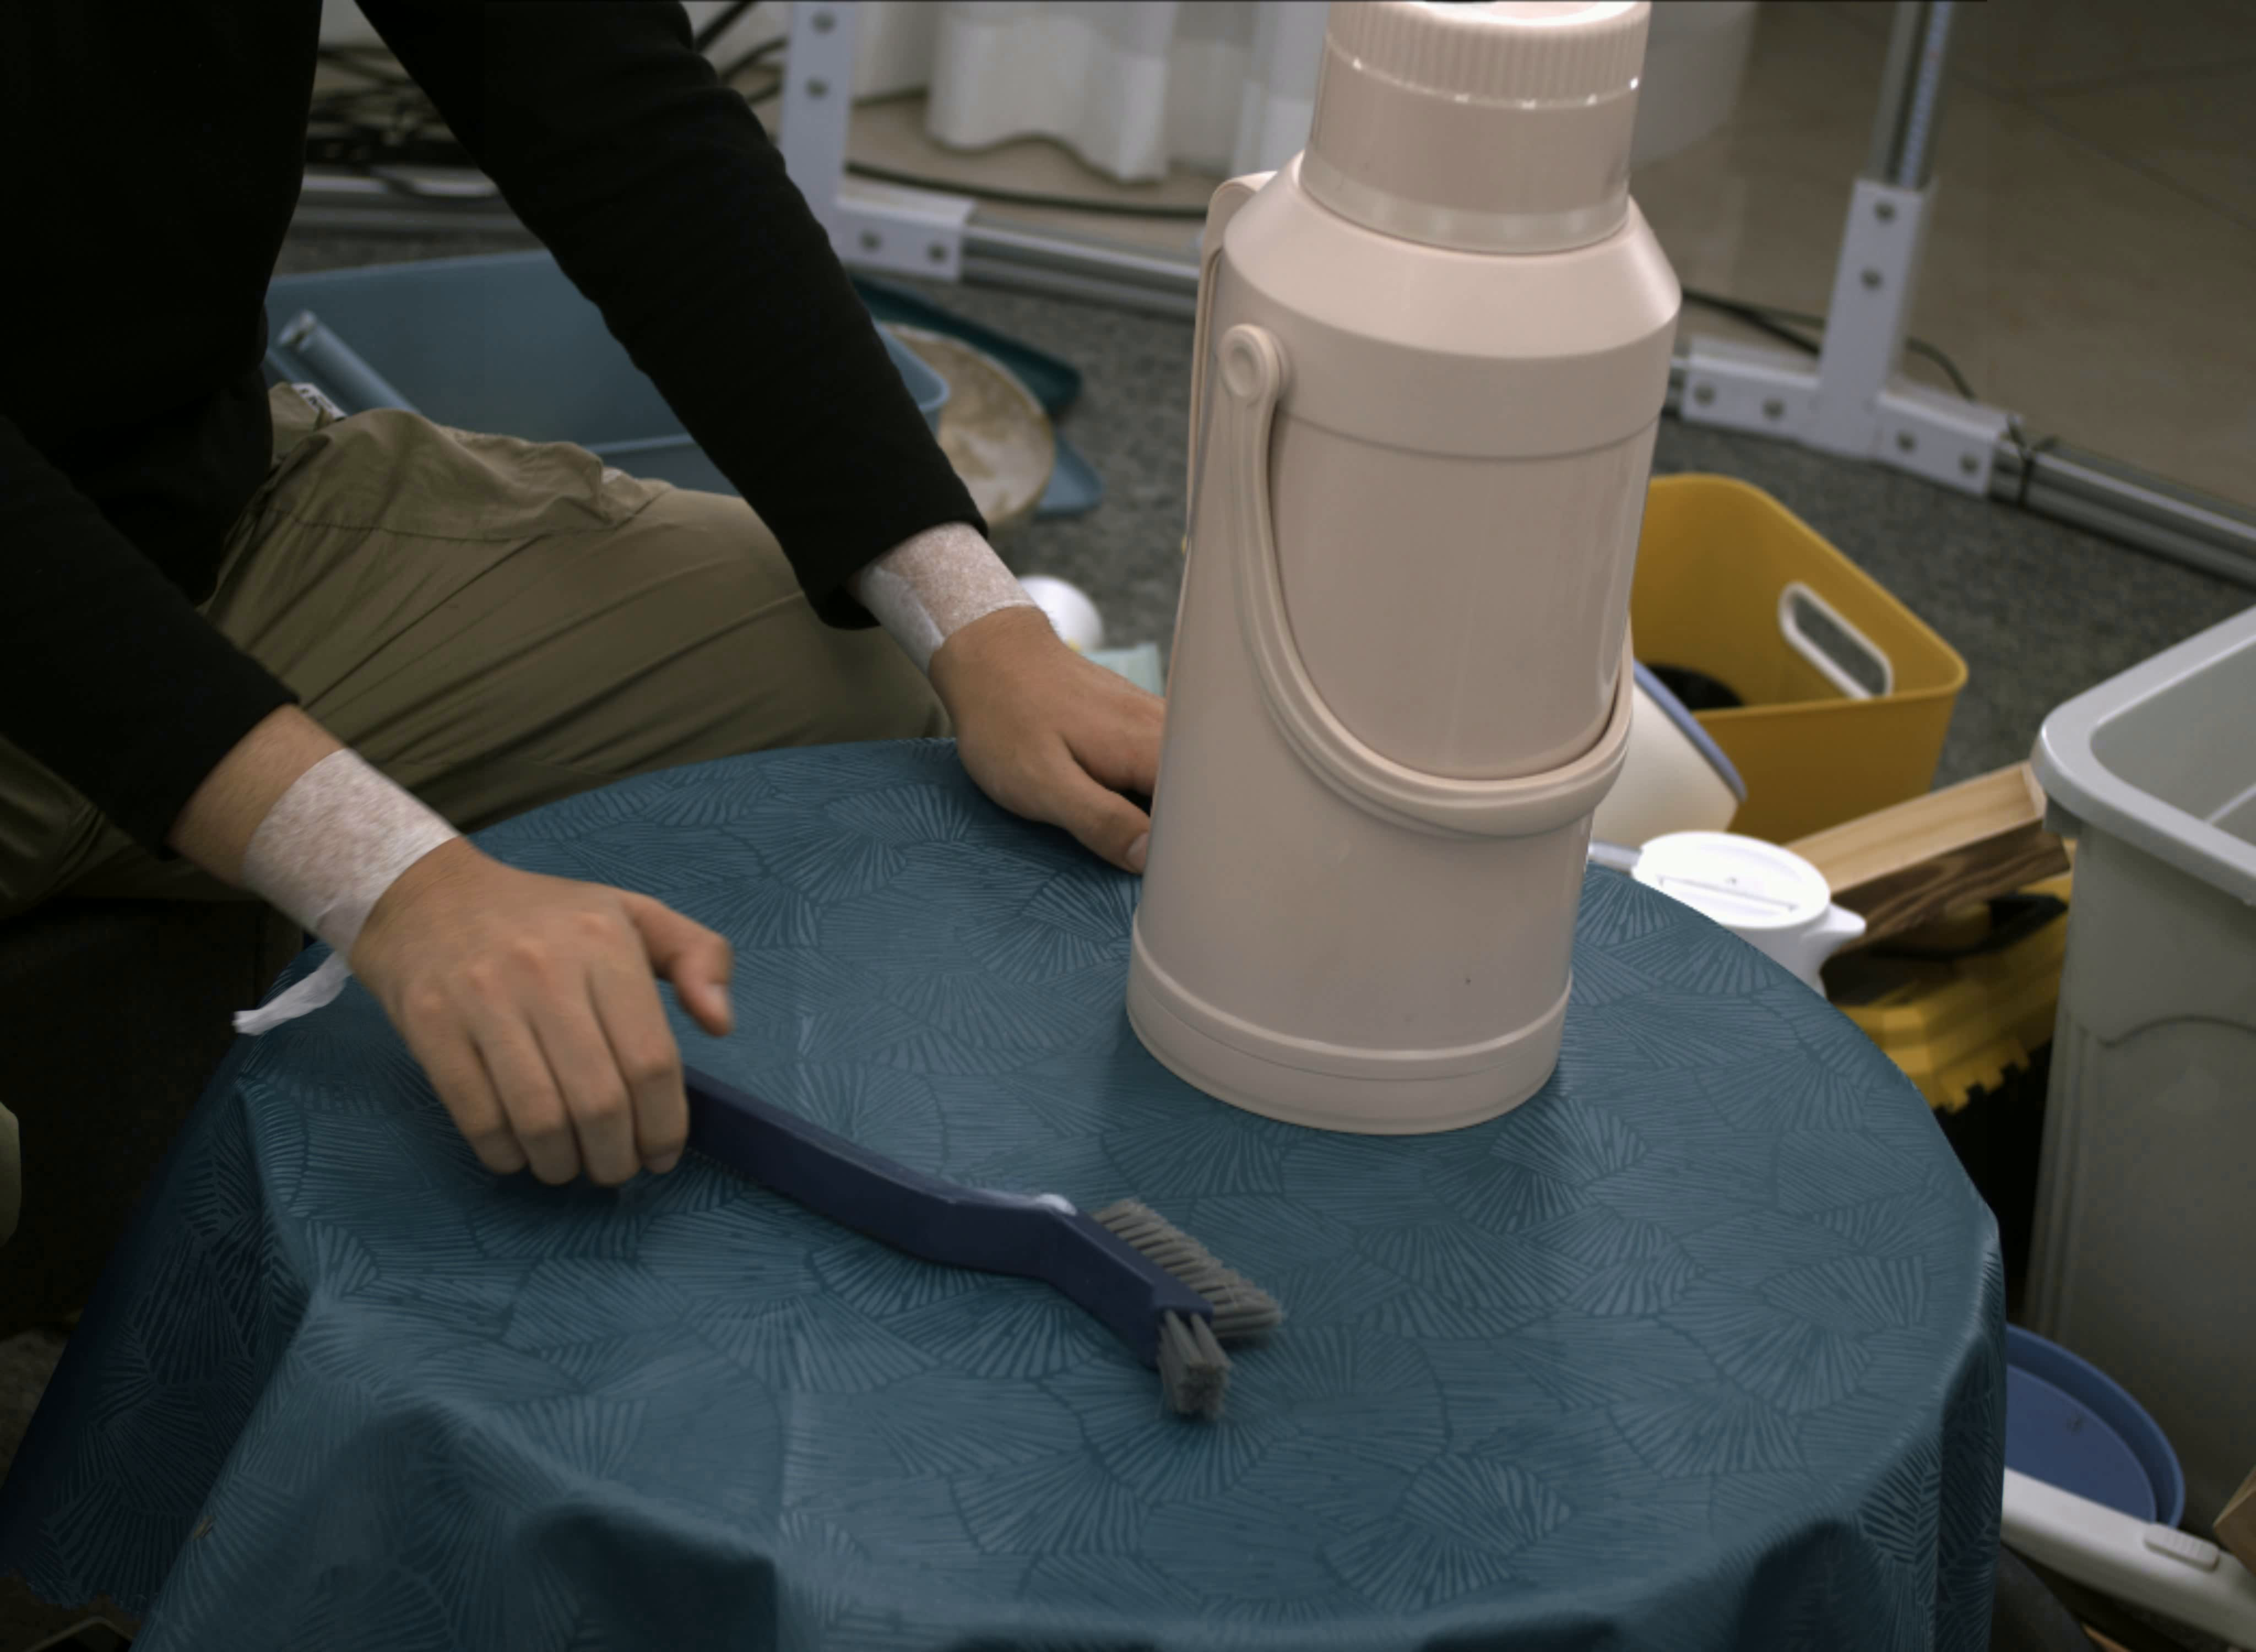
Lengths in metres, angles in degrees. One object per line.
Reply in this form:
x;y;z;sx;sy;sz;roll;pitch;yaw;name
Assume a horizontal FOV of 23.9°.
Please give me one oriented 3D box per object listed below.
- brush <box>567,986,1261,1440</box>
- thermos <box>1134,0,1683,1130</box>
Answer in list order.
-0.082;0.123;1.747;0.274;0.033;0.095;20;29;20;brush
0.092;-0.111;1.846;0.174;0.405;0.209;-15;34;-35;thermos
